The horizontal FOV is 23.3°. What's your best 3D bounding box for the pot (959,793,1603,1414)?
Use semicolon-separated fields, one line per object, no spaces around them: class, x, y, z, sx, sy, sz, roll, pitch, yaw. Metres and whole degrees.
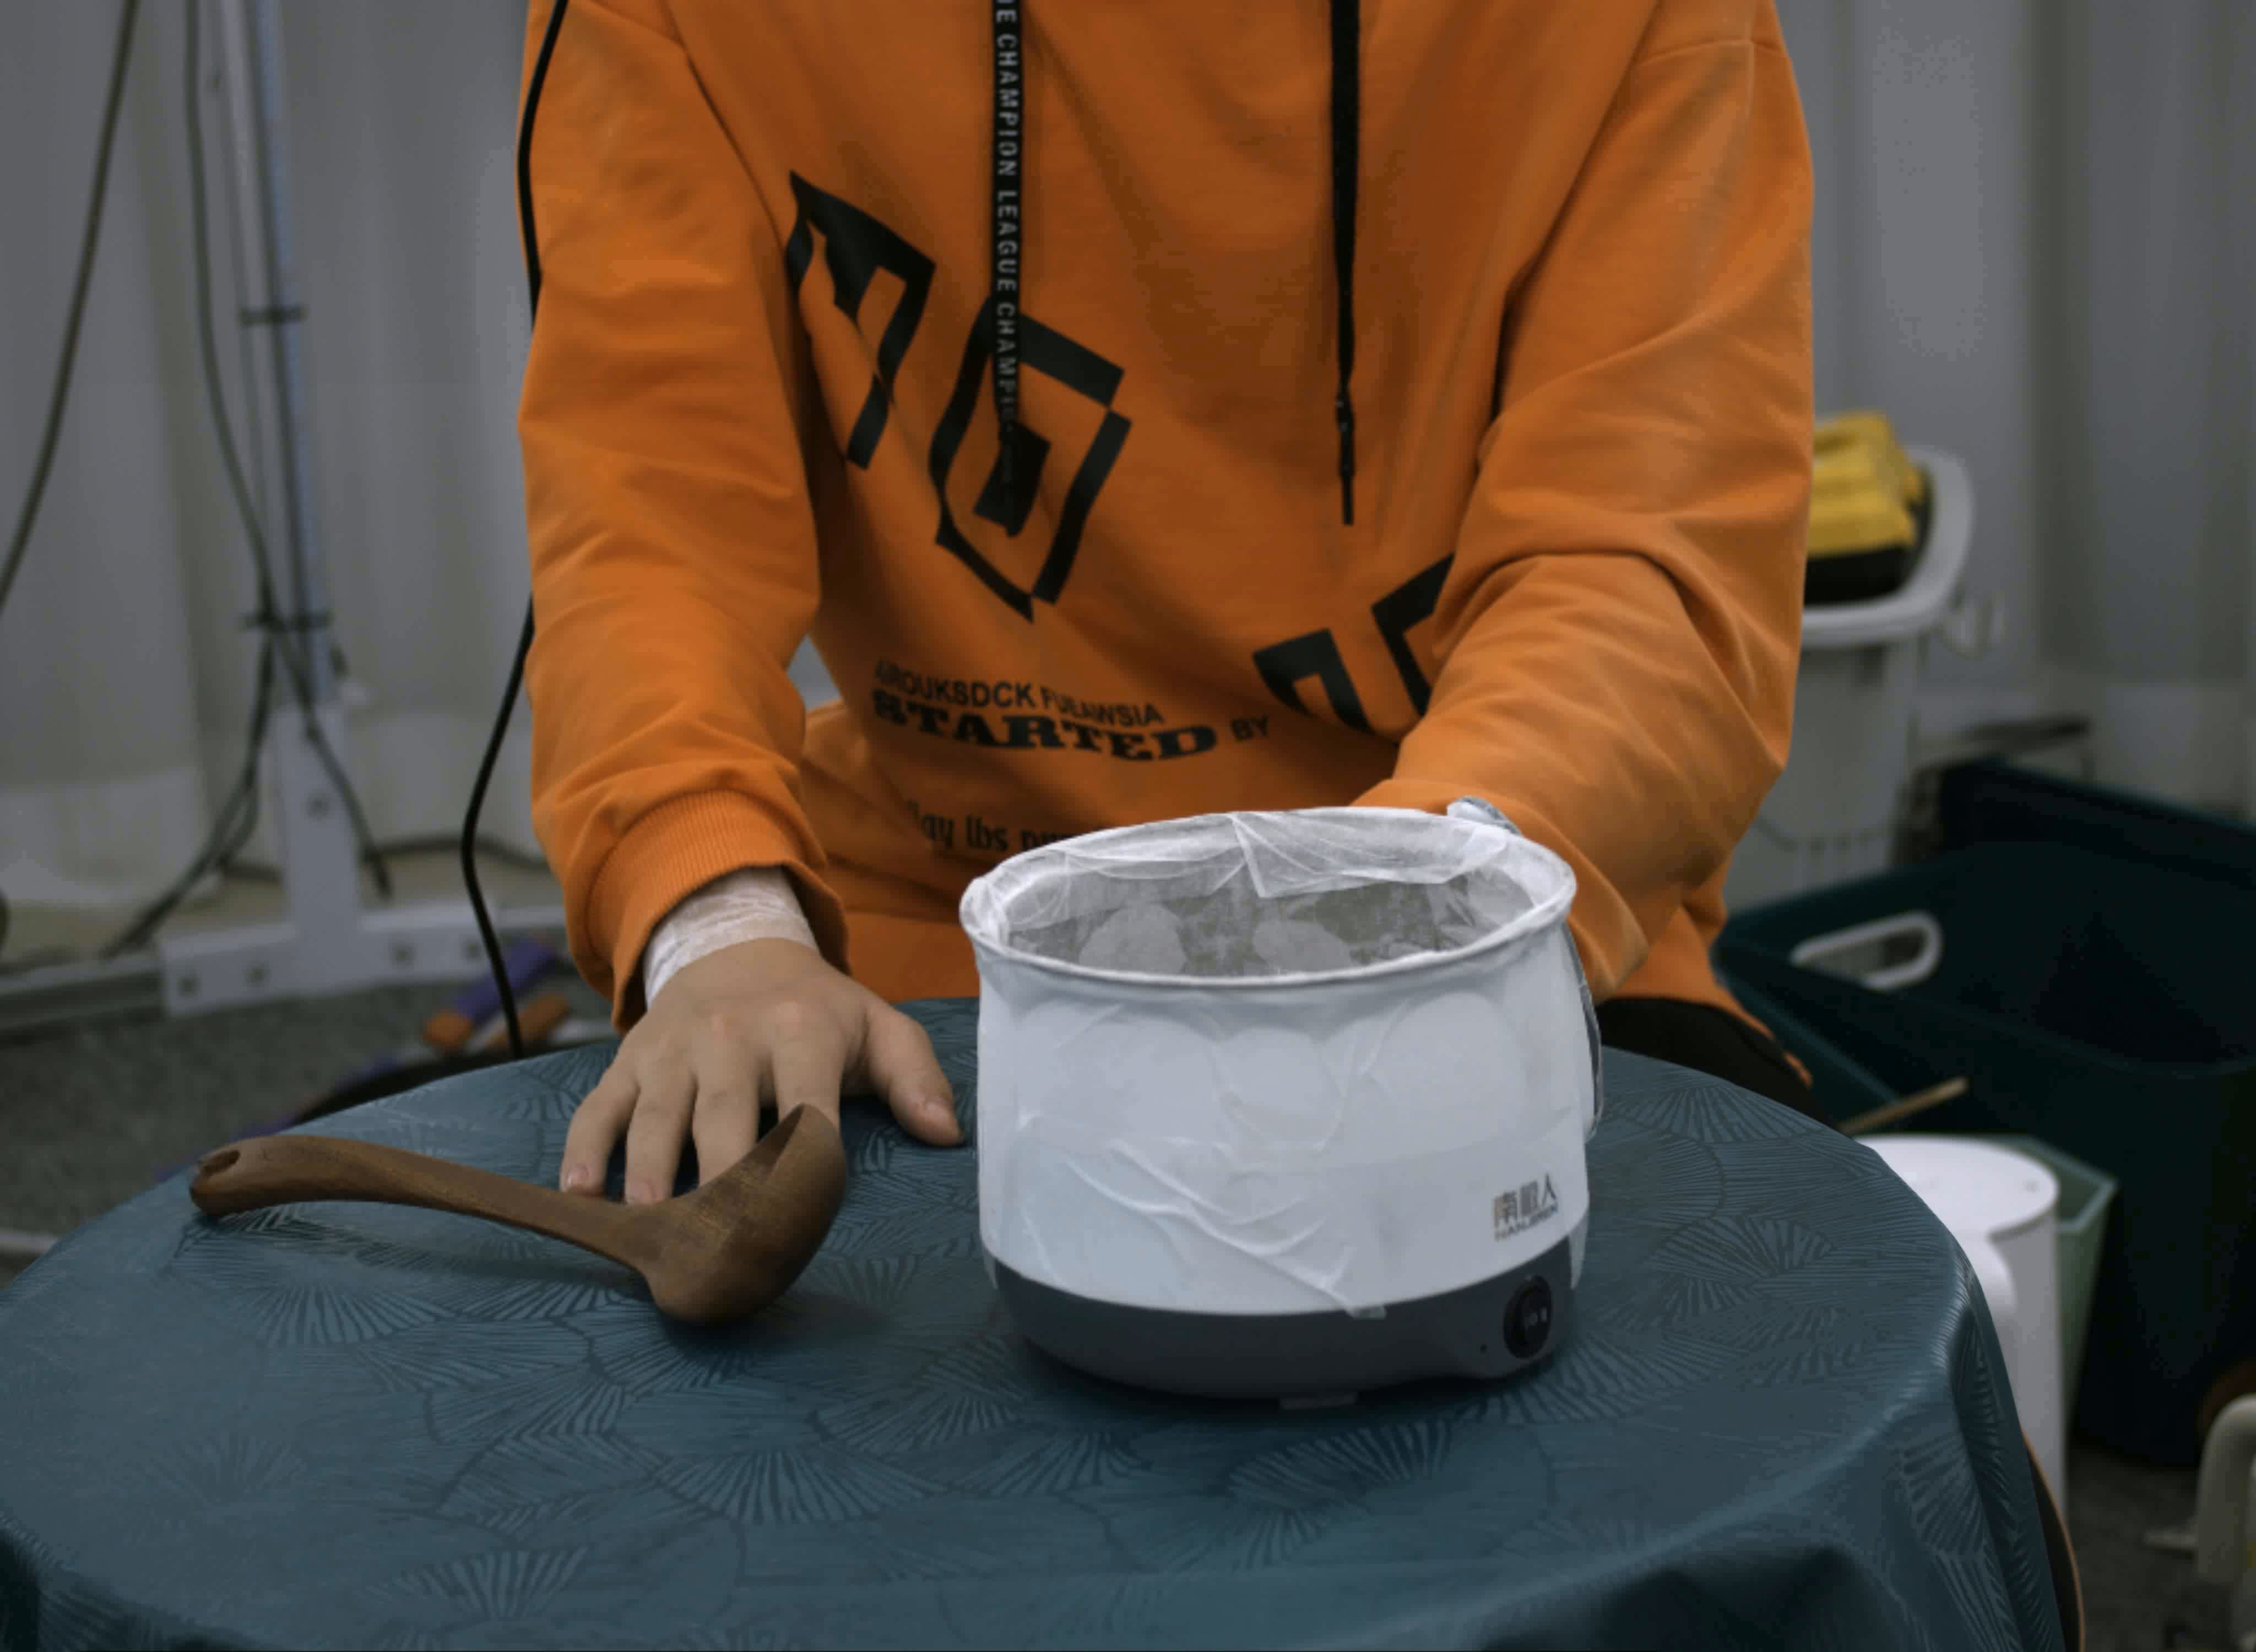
pot;0.060;0.073;1.595;0.179;0.136;0.233;9;19;37

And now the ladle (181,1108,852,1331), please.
ladle;-0.194;0.107;1.665;0.261;0.064;0.077;7;42;31
